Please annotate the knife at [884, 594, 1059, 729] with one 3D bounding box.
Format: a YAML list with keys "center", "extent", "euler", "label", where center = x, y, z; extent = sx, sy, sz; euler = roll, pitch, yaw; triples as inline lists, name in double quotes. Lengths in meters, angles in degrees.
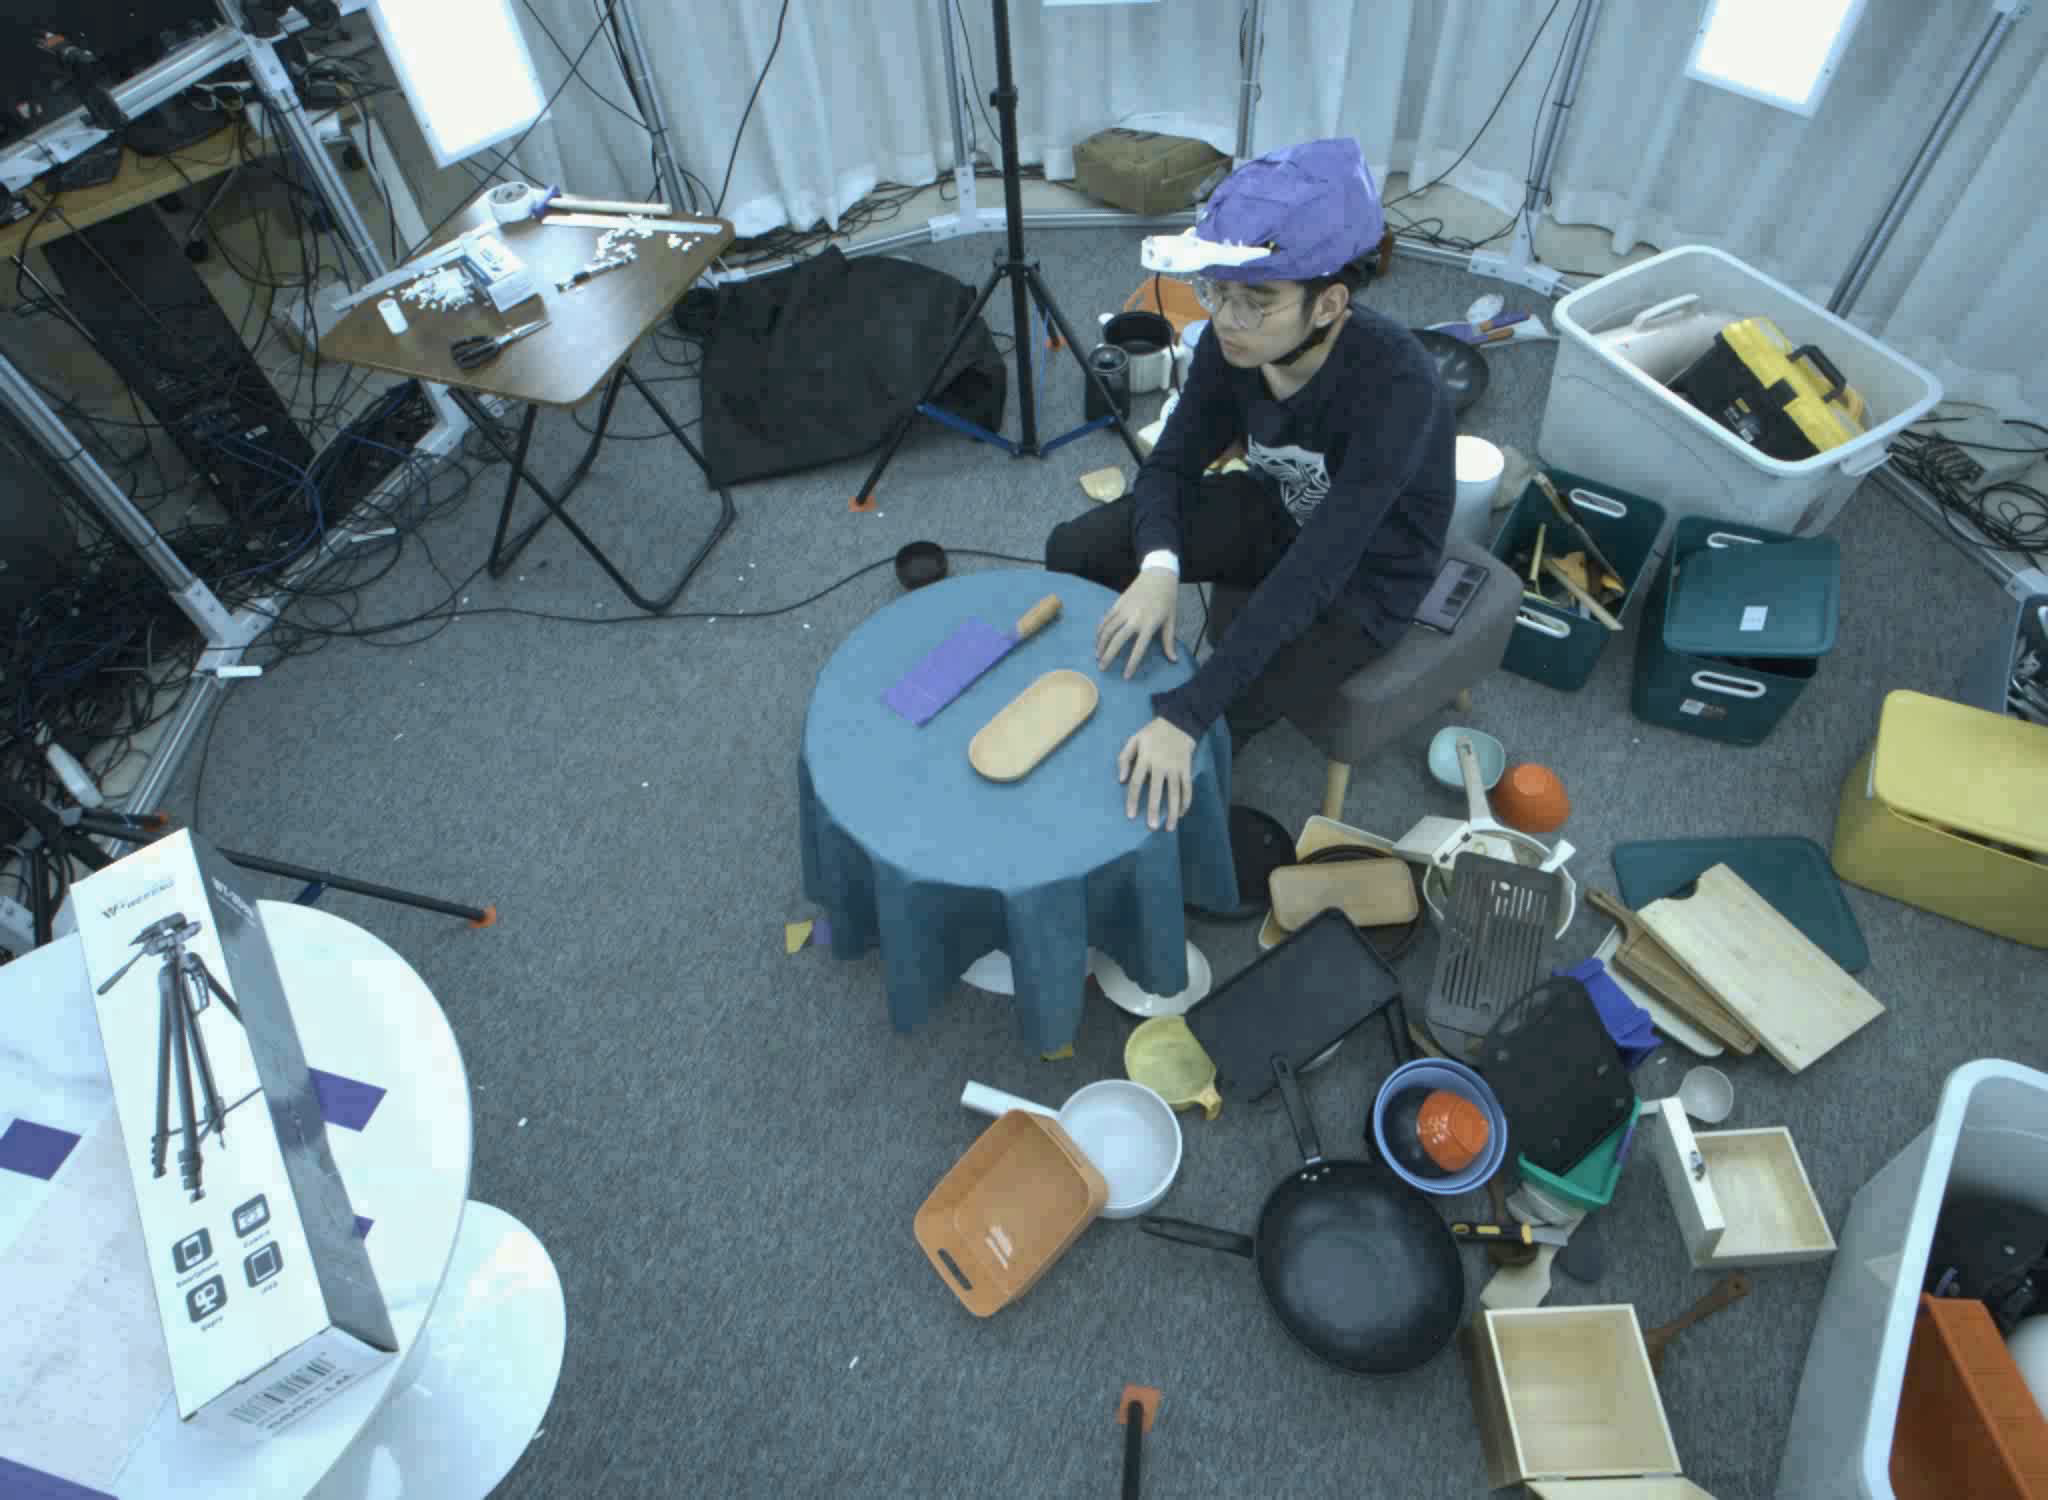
- center: [-0.082, -0.155, 1.891]
  extent: [0.102, 0.032, 0.317]
  euler: [36, 63, 24]
  label: "knife"

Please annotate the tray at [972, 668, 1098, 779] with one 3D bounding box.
- center: [0.017, -0.040, 1.814]
  extent: [0.100, 0.020, 0.233]
  euler: [35, 60, 22]
  label: "tray"
